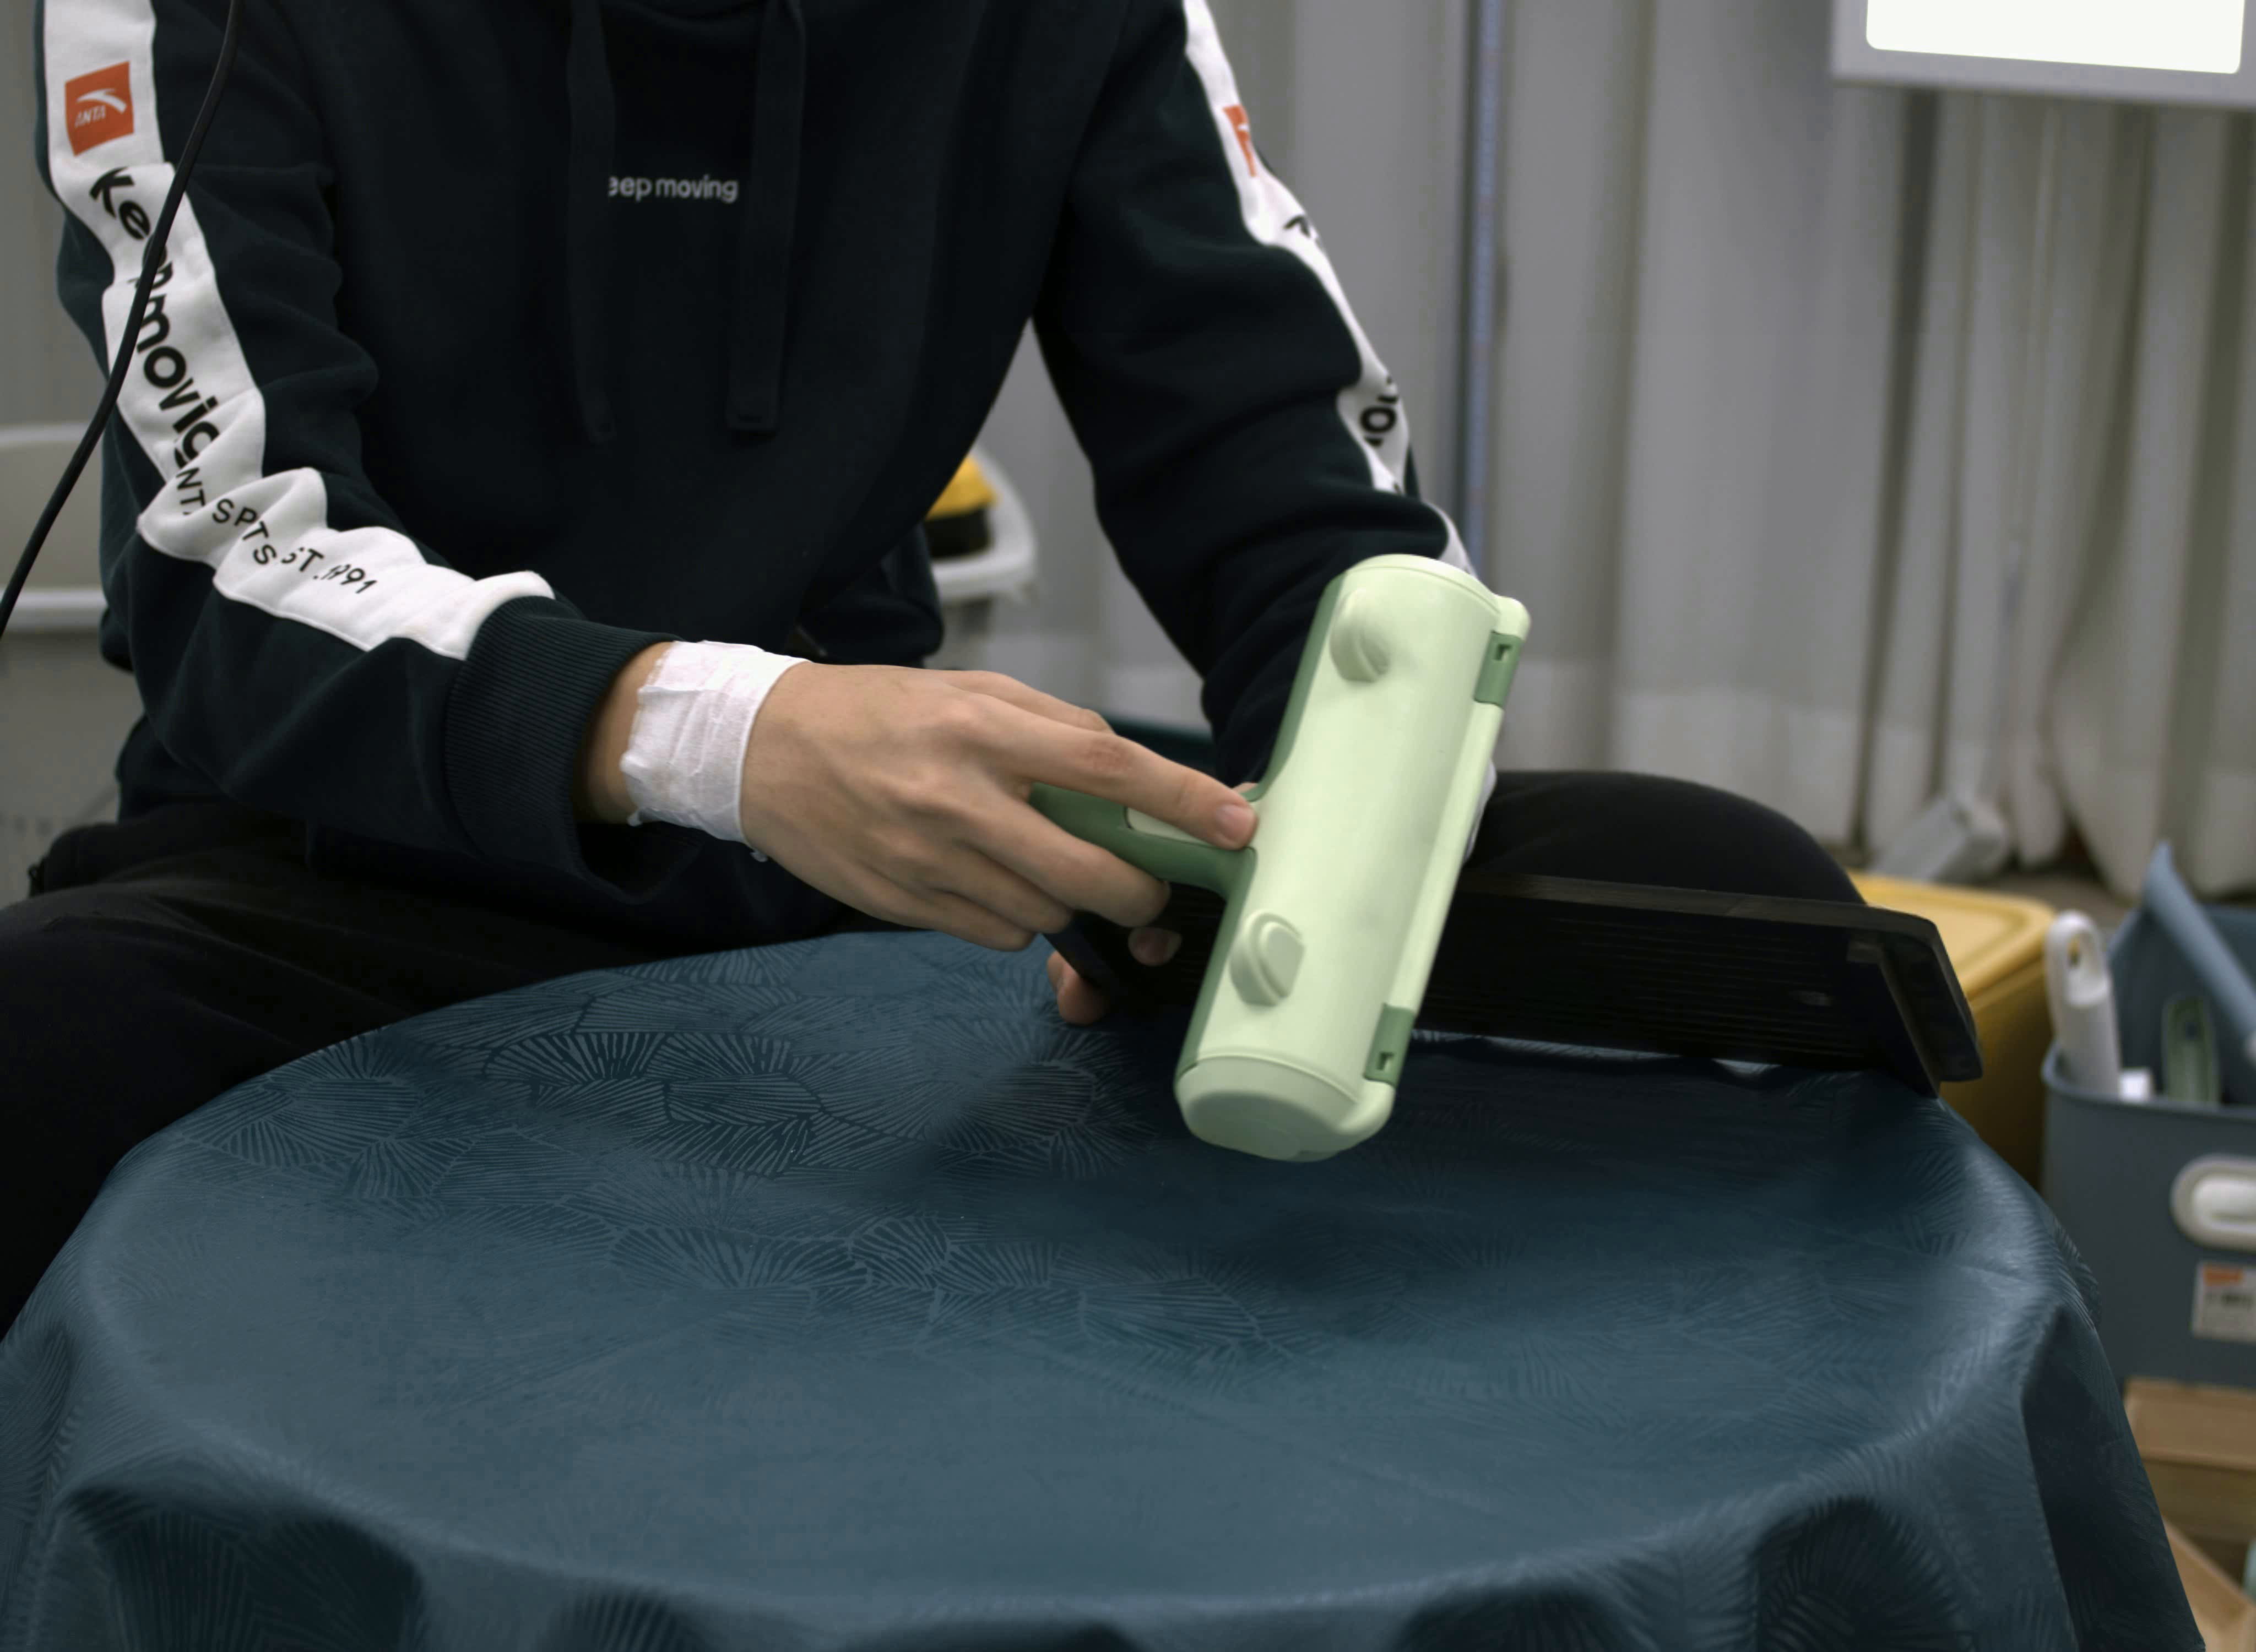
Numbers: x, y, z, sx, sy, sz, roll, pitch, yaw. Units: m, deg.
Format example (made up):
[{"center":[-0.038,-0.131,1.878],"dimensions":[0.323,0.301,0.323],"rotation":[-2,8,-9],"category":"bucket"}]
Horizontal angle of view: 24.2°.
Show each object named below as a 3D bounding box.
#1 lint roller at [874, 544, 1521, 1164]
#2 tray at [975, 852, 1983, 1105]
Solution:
[{"center":[0.008,-0.008,1.574],"dimensions":[0.182,0.083,0.198],"rotation":[12,61,10],"category":"lint roller"},{"center":[0.114,0.047,1.682],"dimensions":[0.303,0.018,0.172],"rotation":[5,-17,16],"category":"tray"}]
